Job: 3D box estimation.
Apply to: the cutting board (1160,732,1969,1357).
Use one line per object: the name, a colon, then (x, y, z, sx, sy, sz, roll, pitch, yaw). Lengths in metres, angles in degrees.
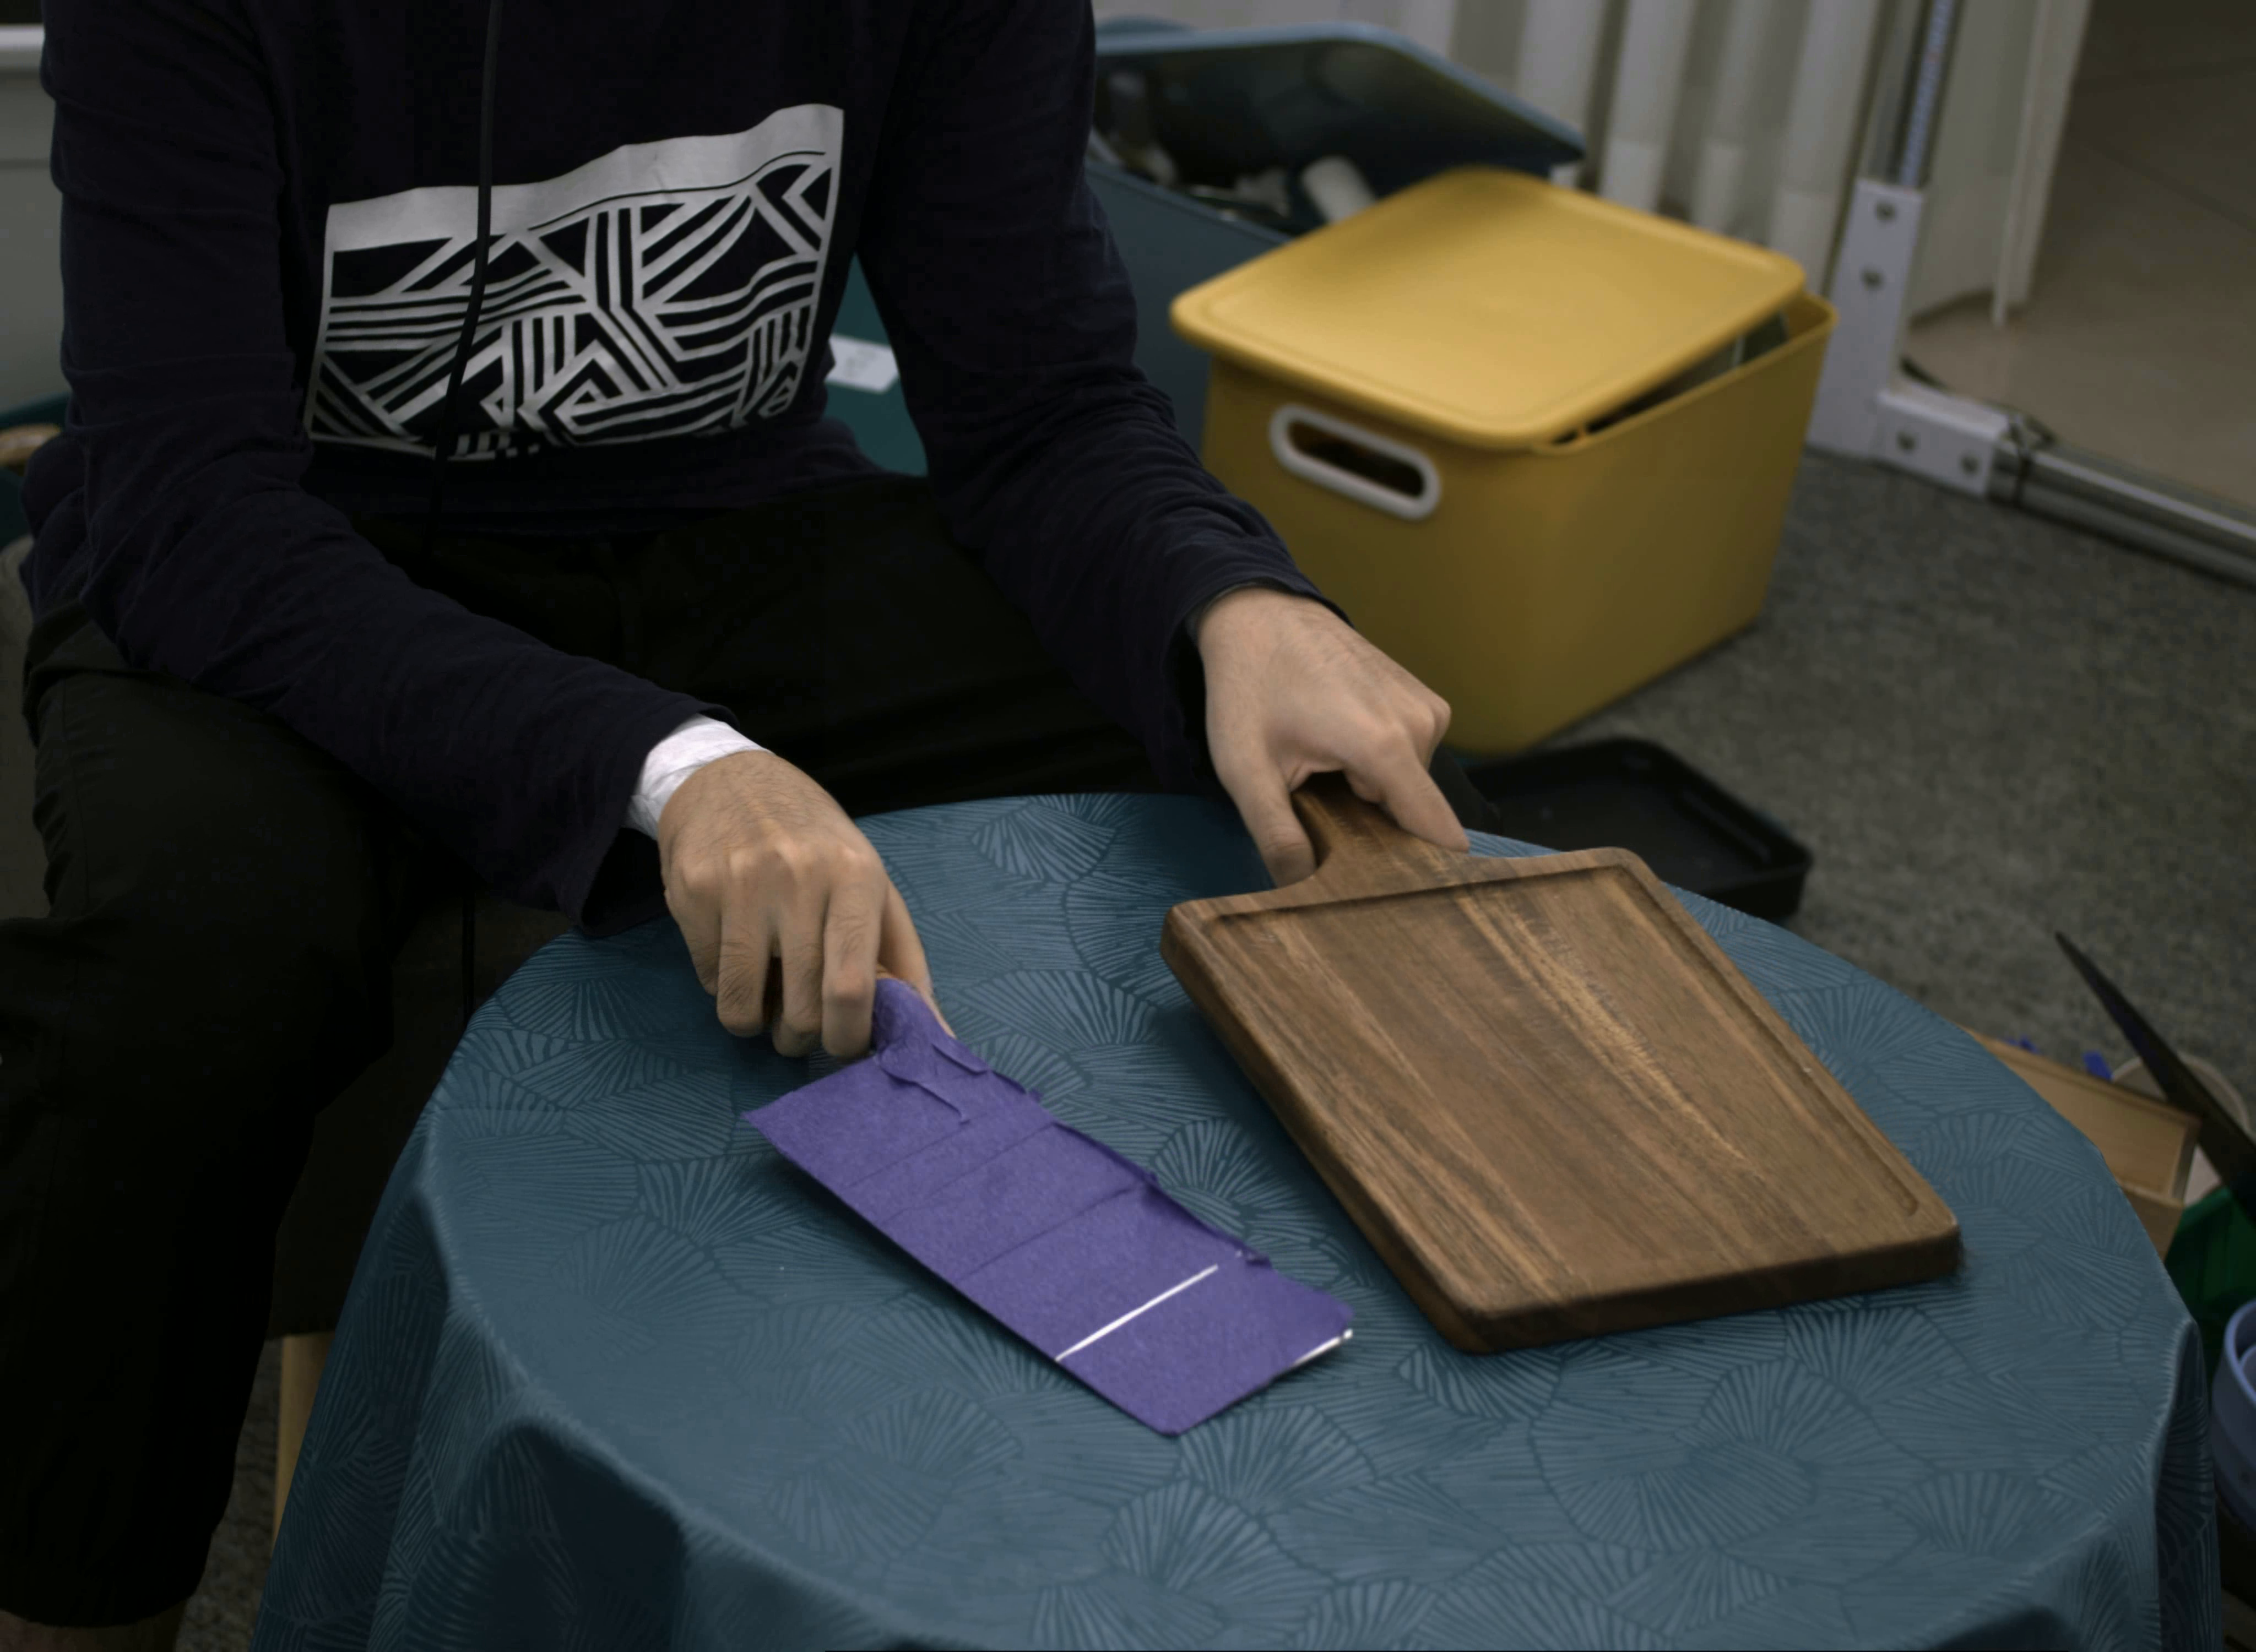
cutting board: (0.129, 0.064, 1.896, 0.200, 0.023, 0.355, -7, 34, -23)

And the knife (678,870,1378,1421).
knife: (-0.062, 0.103, 1.785, 0.103, 0.032, 0.318, -25, 42, -38)
